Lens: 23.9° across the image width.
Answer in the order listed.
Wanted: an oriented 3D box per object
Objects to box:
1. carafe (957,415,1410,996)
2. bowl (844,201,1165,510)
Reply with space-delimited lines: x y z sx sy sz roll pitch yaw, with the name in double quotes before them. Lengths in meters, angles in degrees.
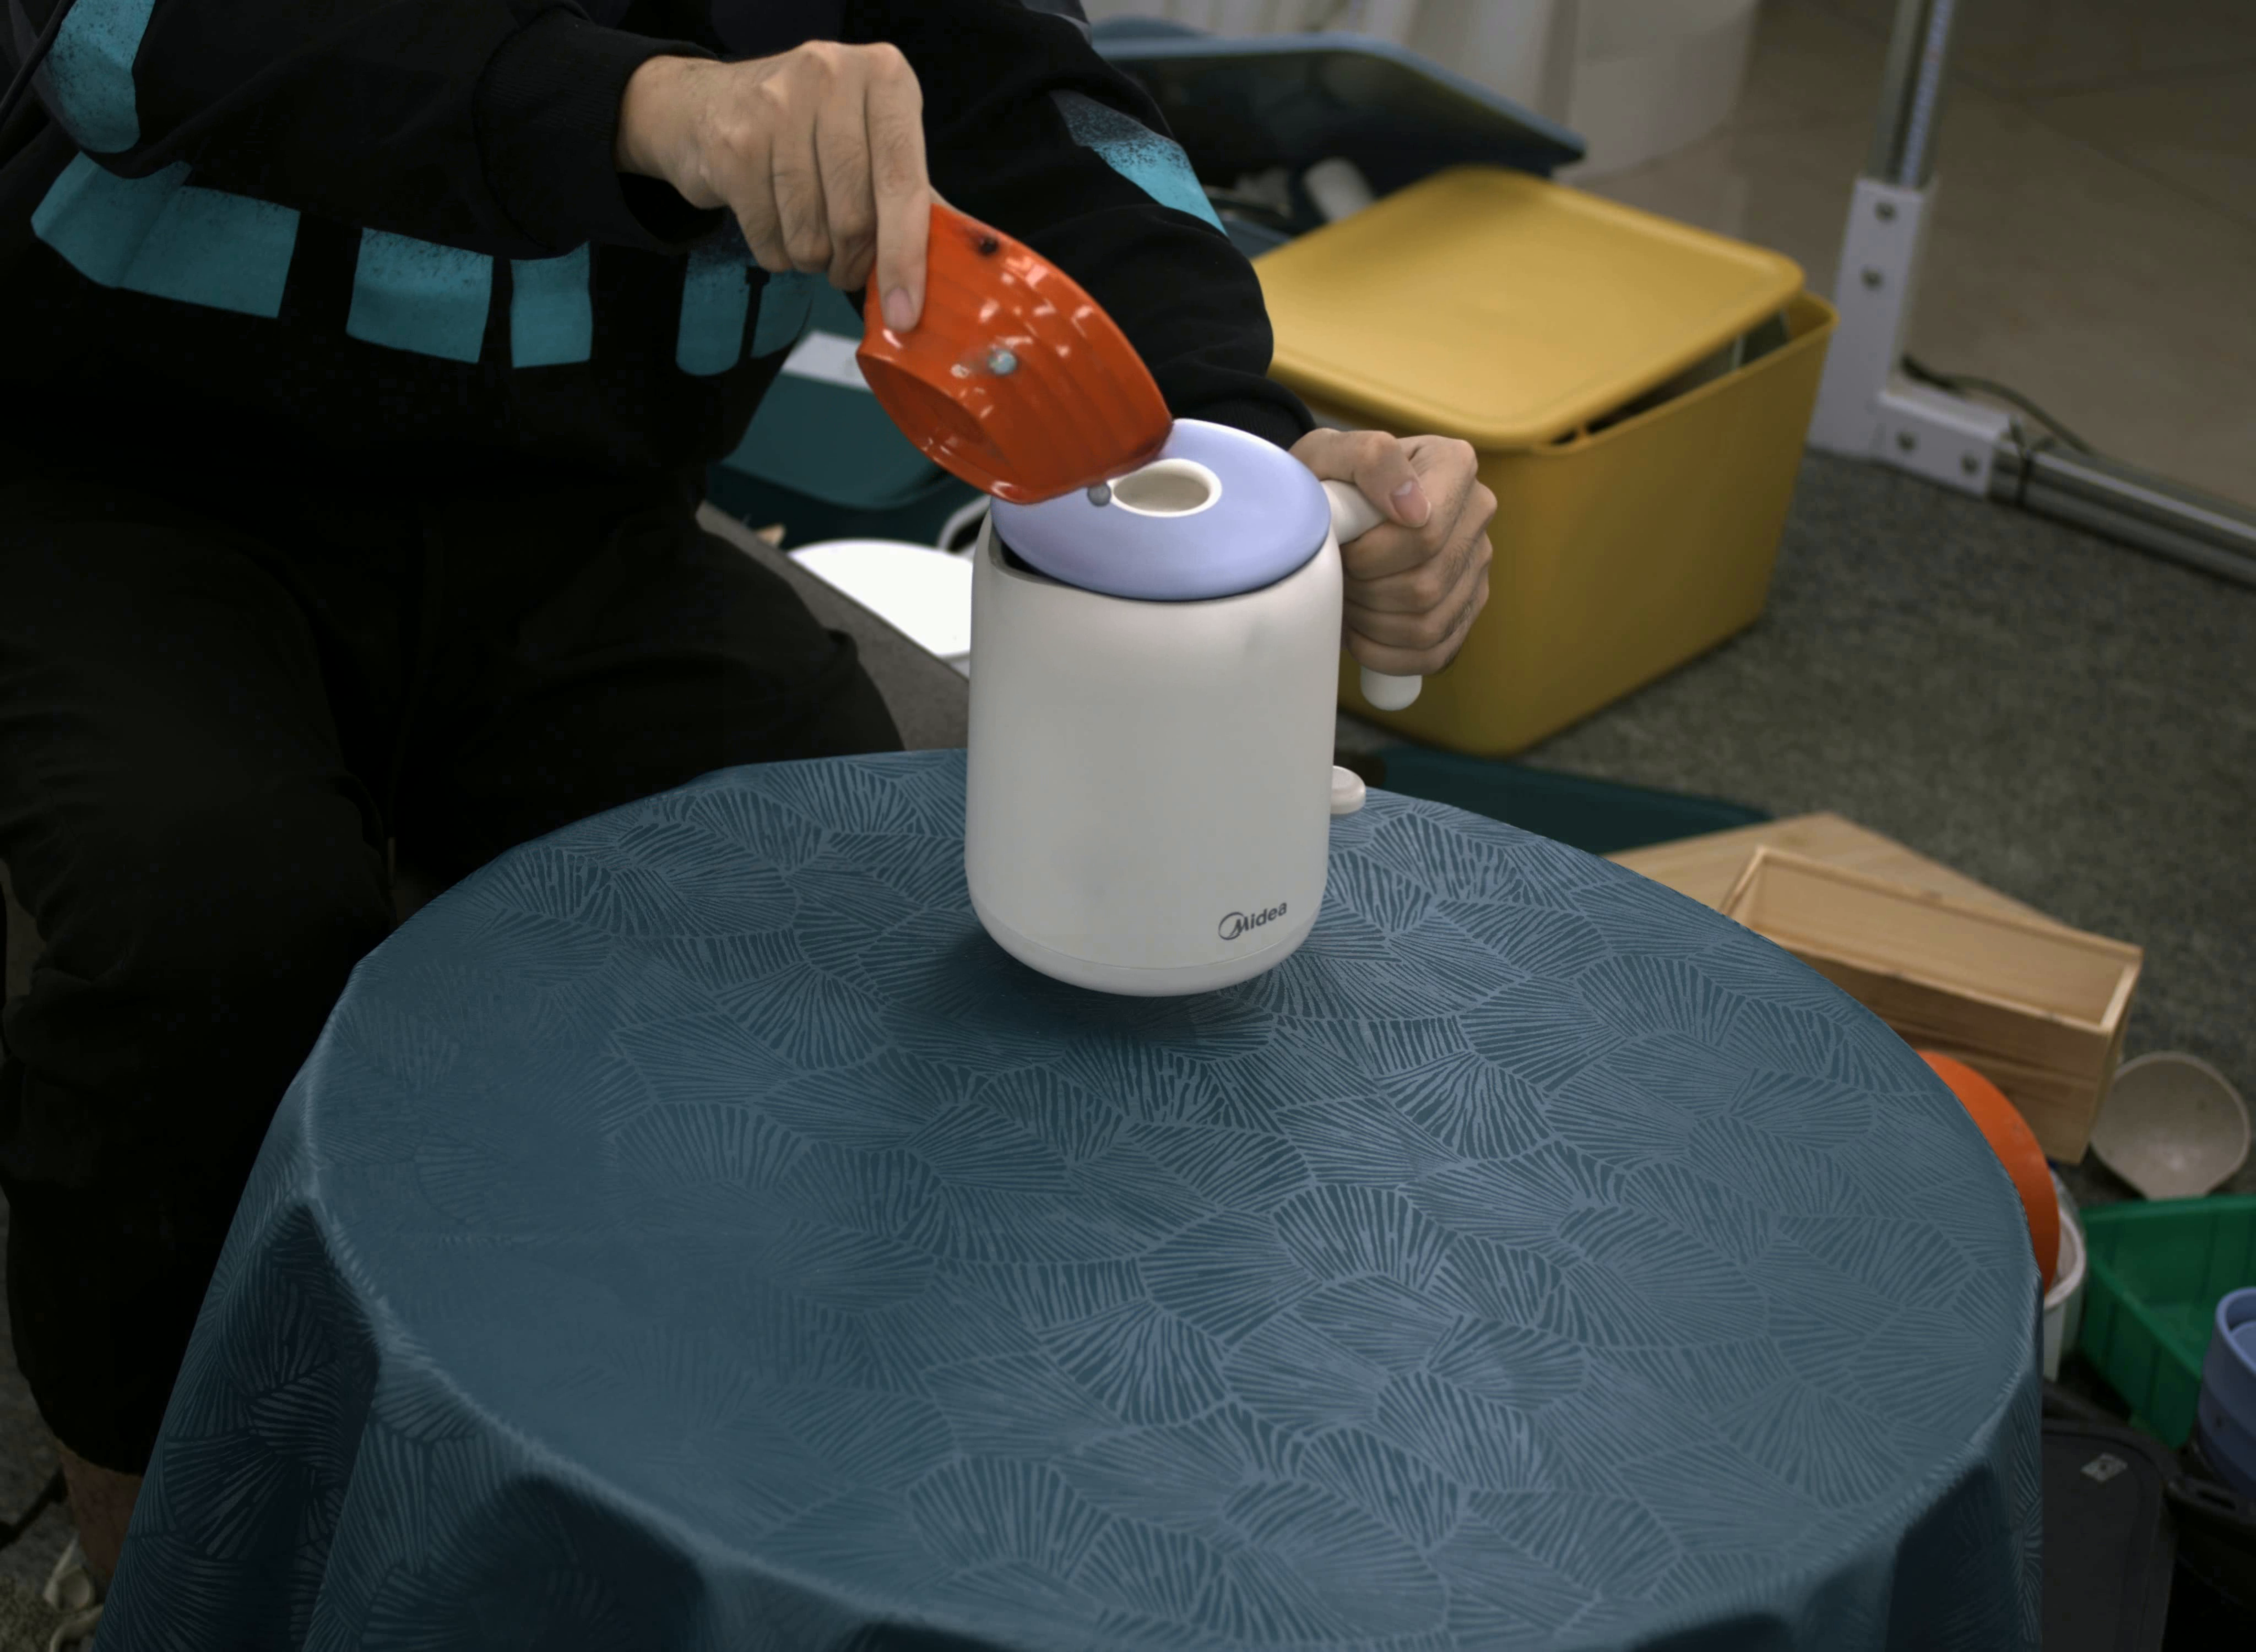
"carafe" 0.027 -0.050 1.897 0.190 0.182 0.133 -19 39 -32
"bowl" -0.049 -0.147 1.746 0.120 0.118 0.051 31 77 39
